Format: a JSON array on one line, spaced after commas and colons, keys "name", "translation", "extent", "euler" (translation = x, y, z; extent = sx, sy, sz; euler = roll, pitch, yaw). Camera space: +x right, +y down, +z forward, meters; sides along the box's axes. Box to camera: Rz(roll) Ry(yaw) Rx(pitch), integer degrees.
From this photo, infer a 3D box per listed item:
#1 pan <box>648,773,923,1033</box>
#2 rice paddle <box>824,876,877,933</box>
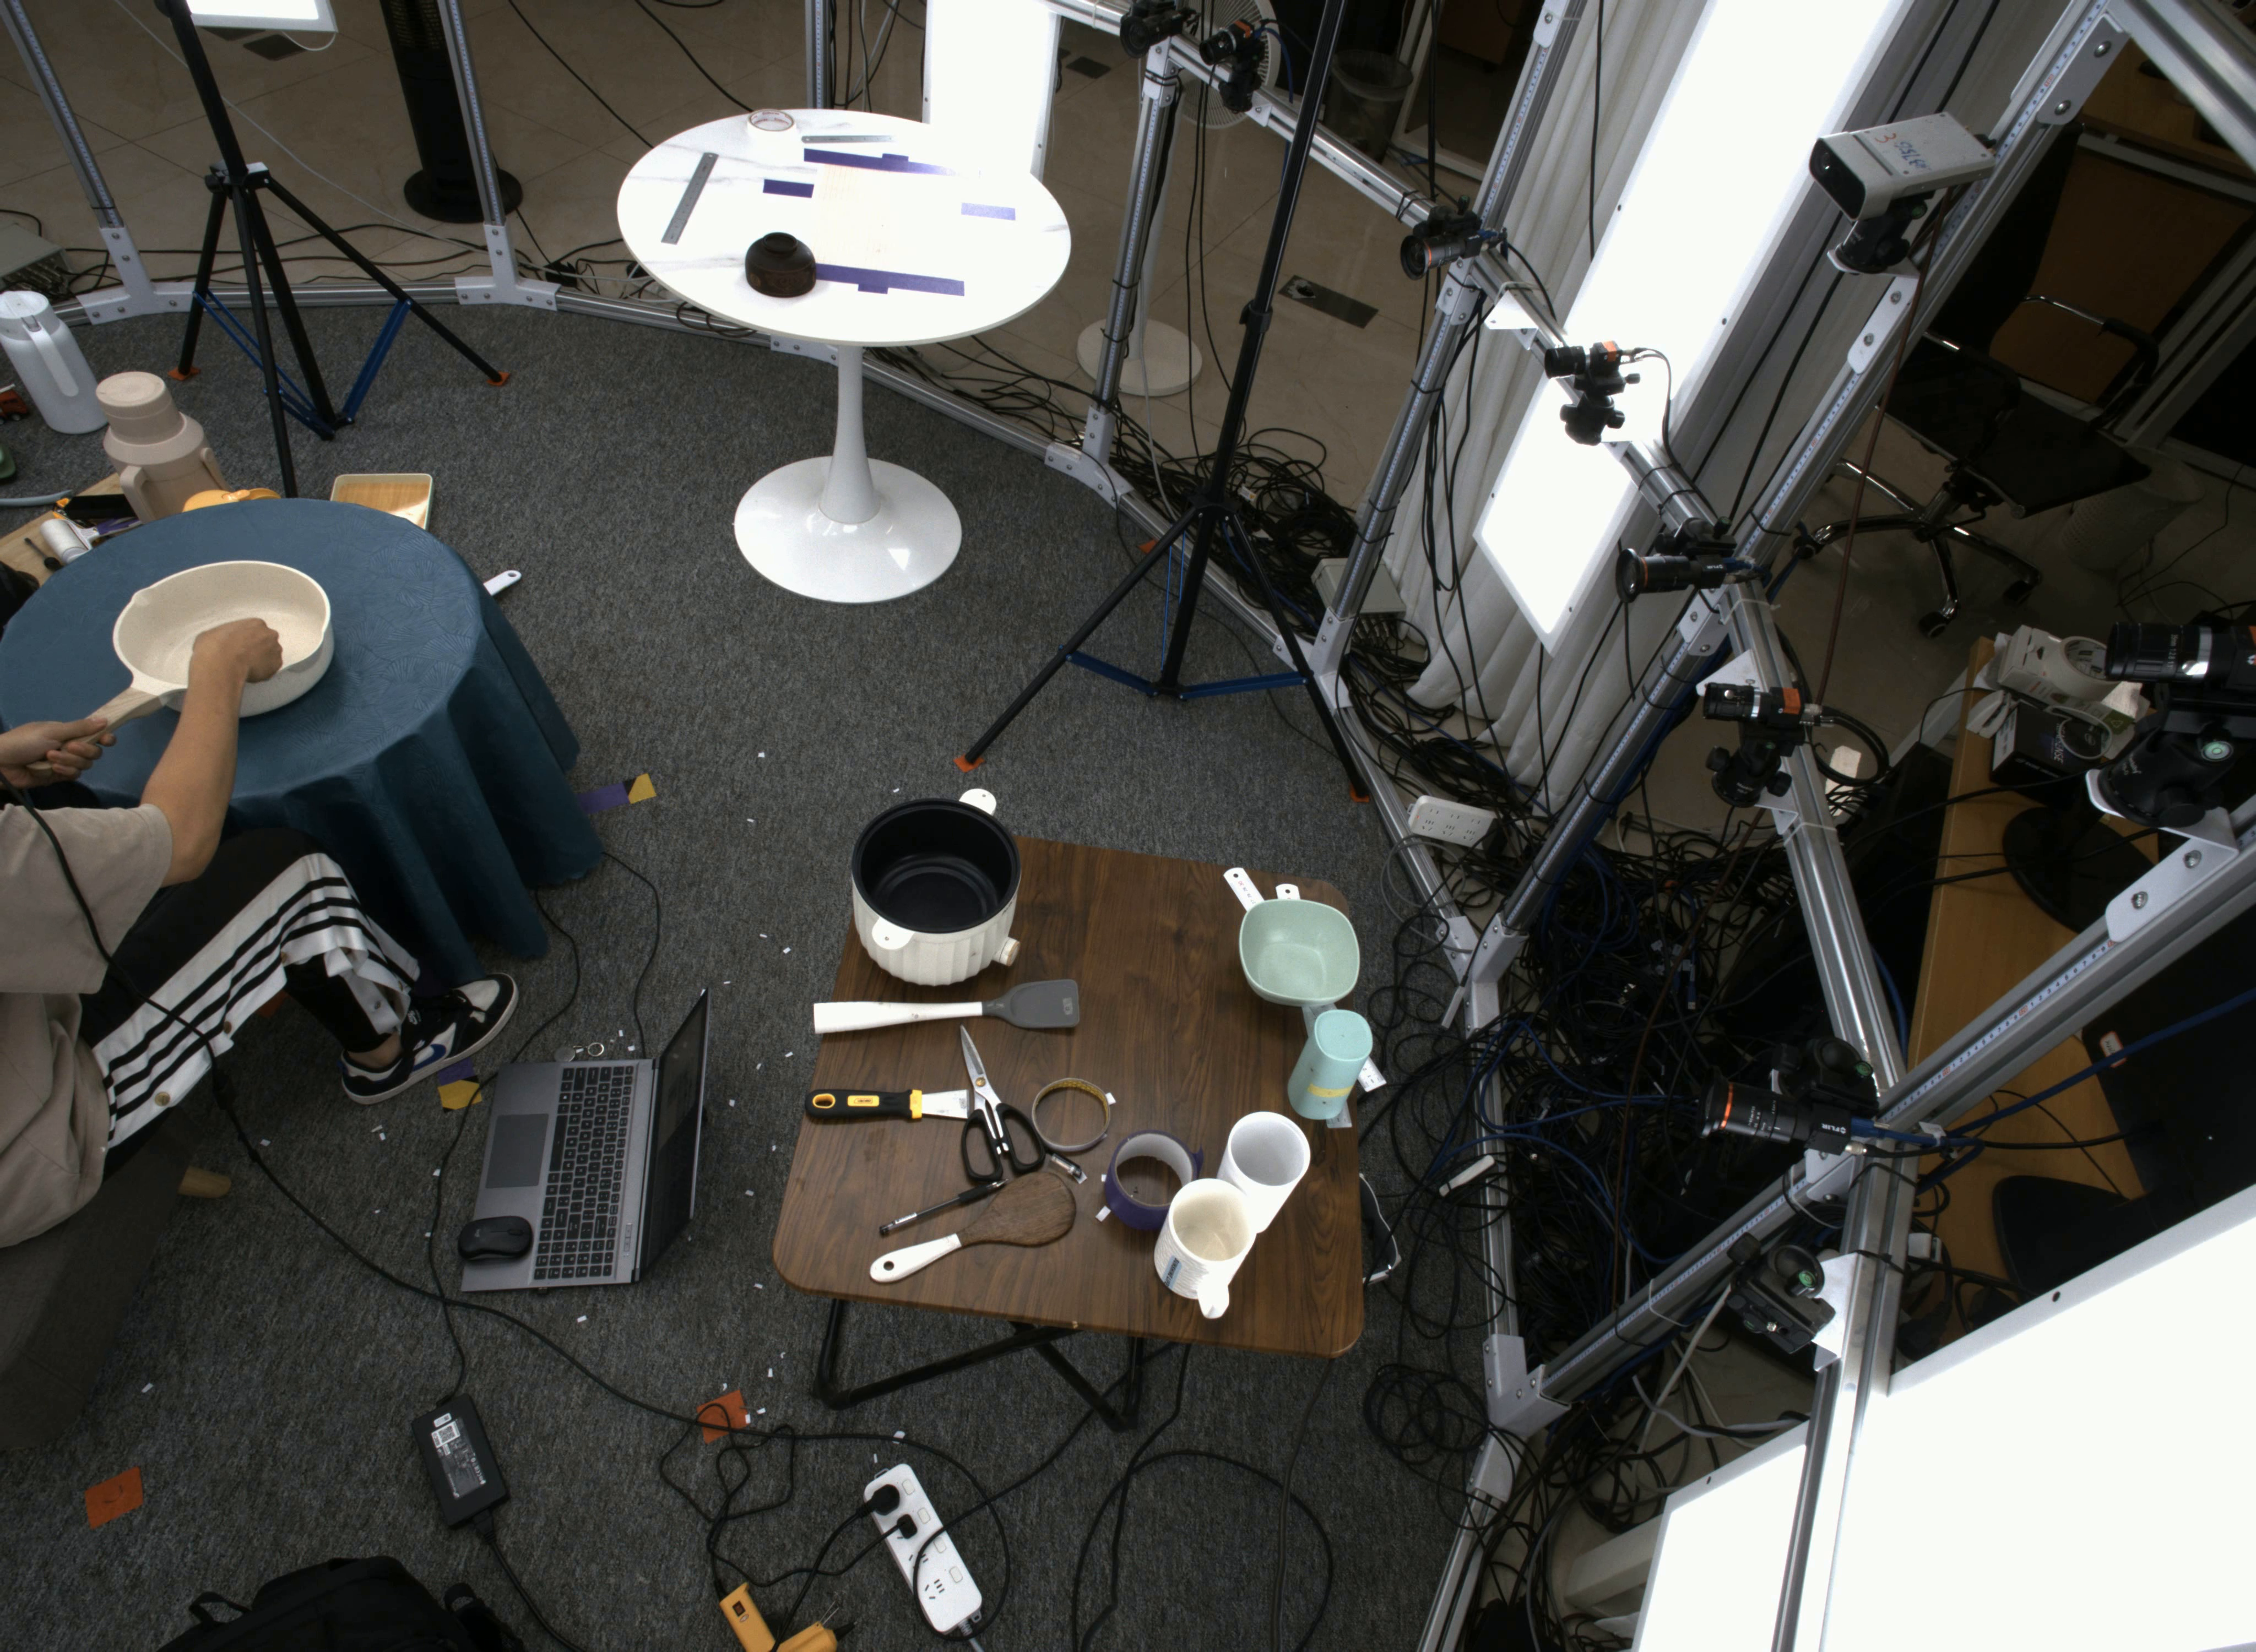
[{"name": "pan", "translation": [-0.431, 0.108, 1.586], "extent": [0.259, 0.104, 0.433], "euler": [31, 52, 9]}, {"name": "rice paddle", "translation": [-0.323, 0.085, 1.531], "extent": [0.068, 0.200, 0.030], "euler": [-25, 106, -12]}]
